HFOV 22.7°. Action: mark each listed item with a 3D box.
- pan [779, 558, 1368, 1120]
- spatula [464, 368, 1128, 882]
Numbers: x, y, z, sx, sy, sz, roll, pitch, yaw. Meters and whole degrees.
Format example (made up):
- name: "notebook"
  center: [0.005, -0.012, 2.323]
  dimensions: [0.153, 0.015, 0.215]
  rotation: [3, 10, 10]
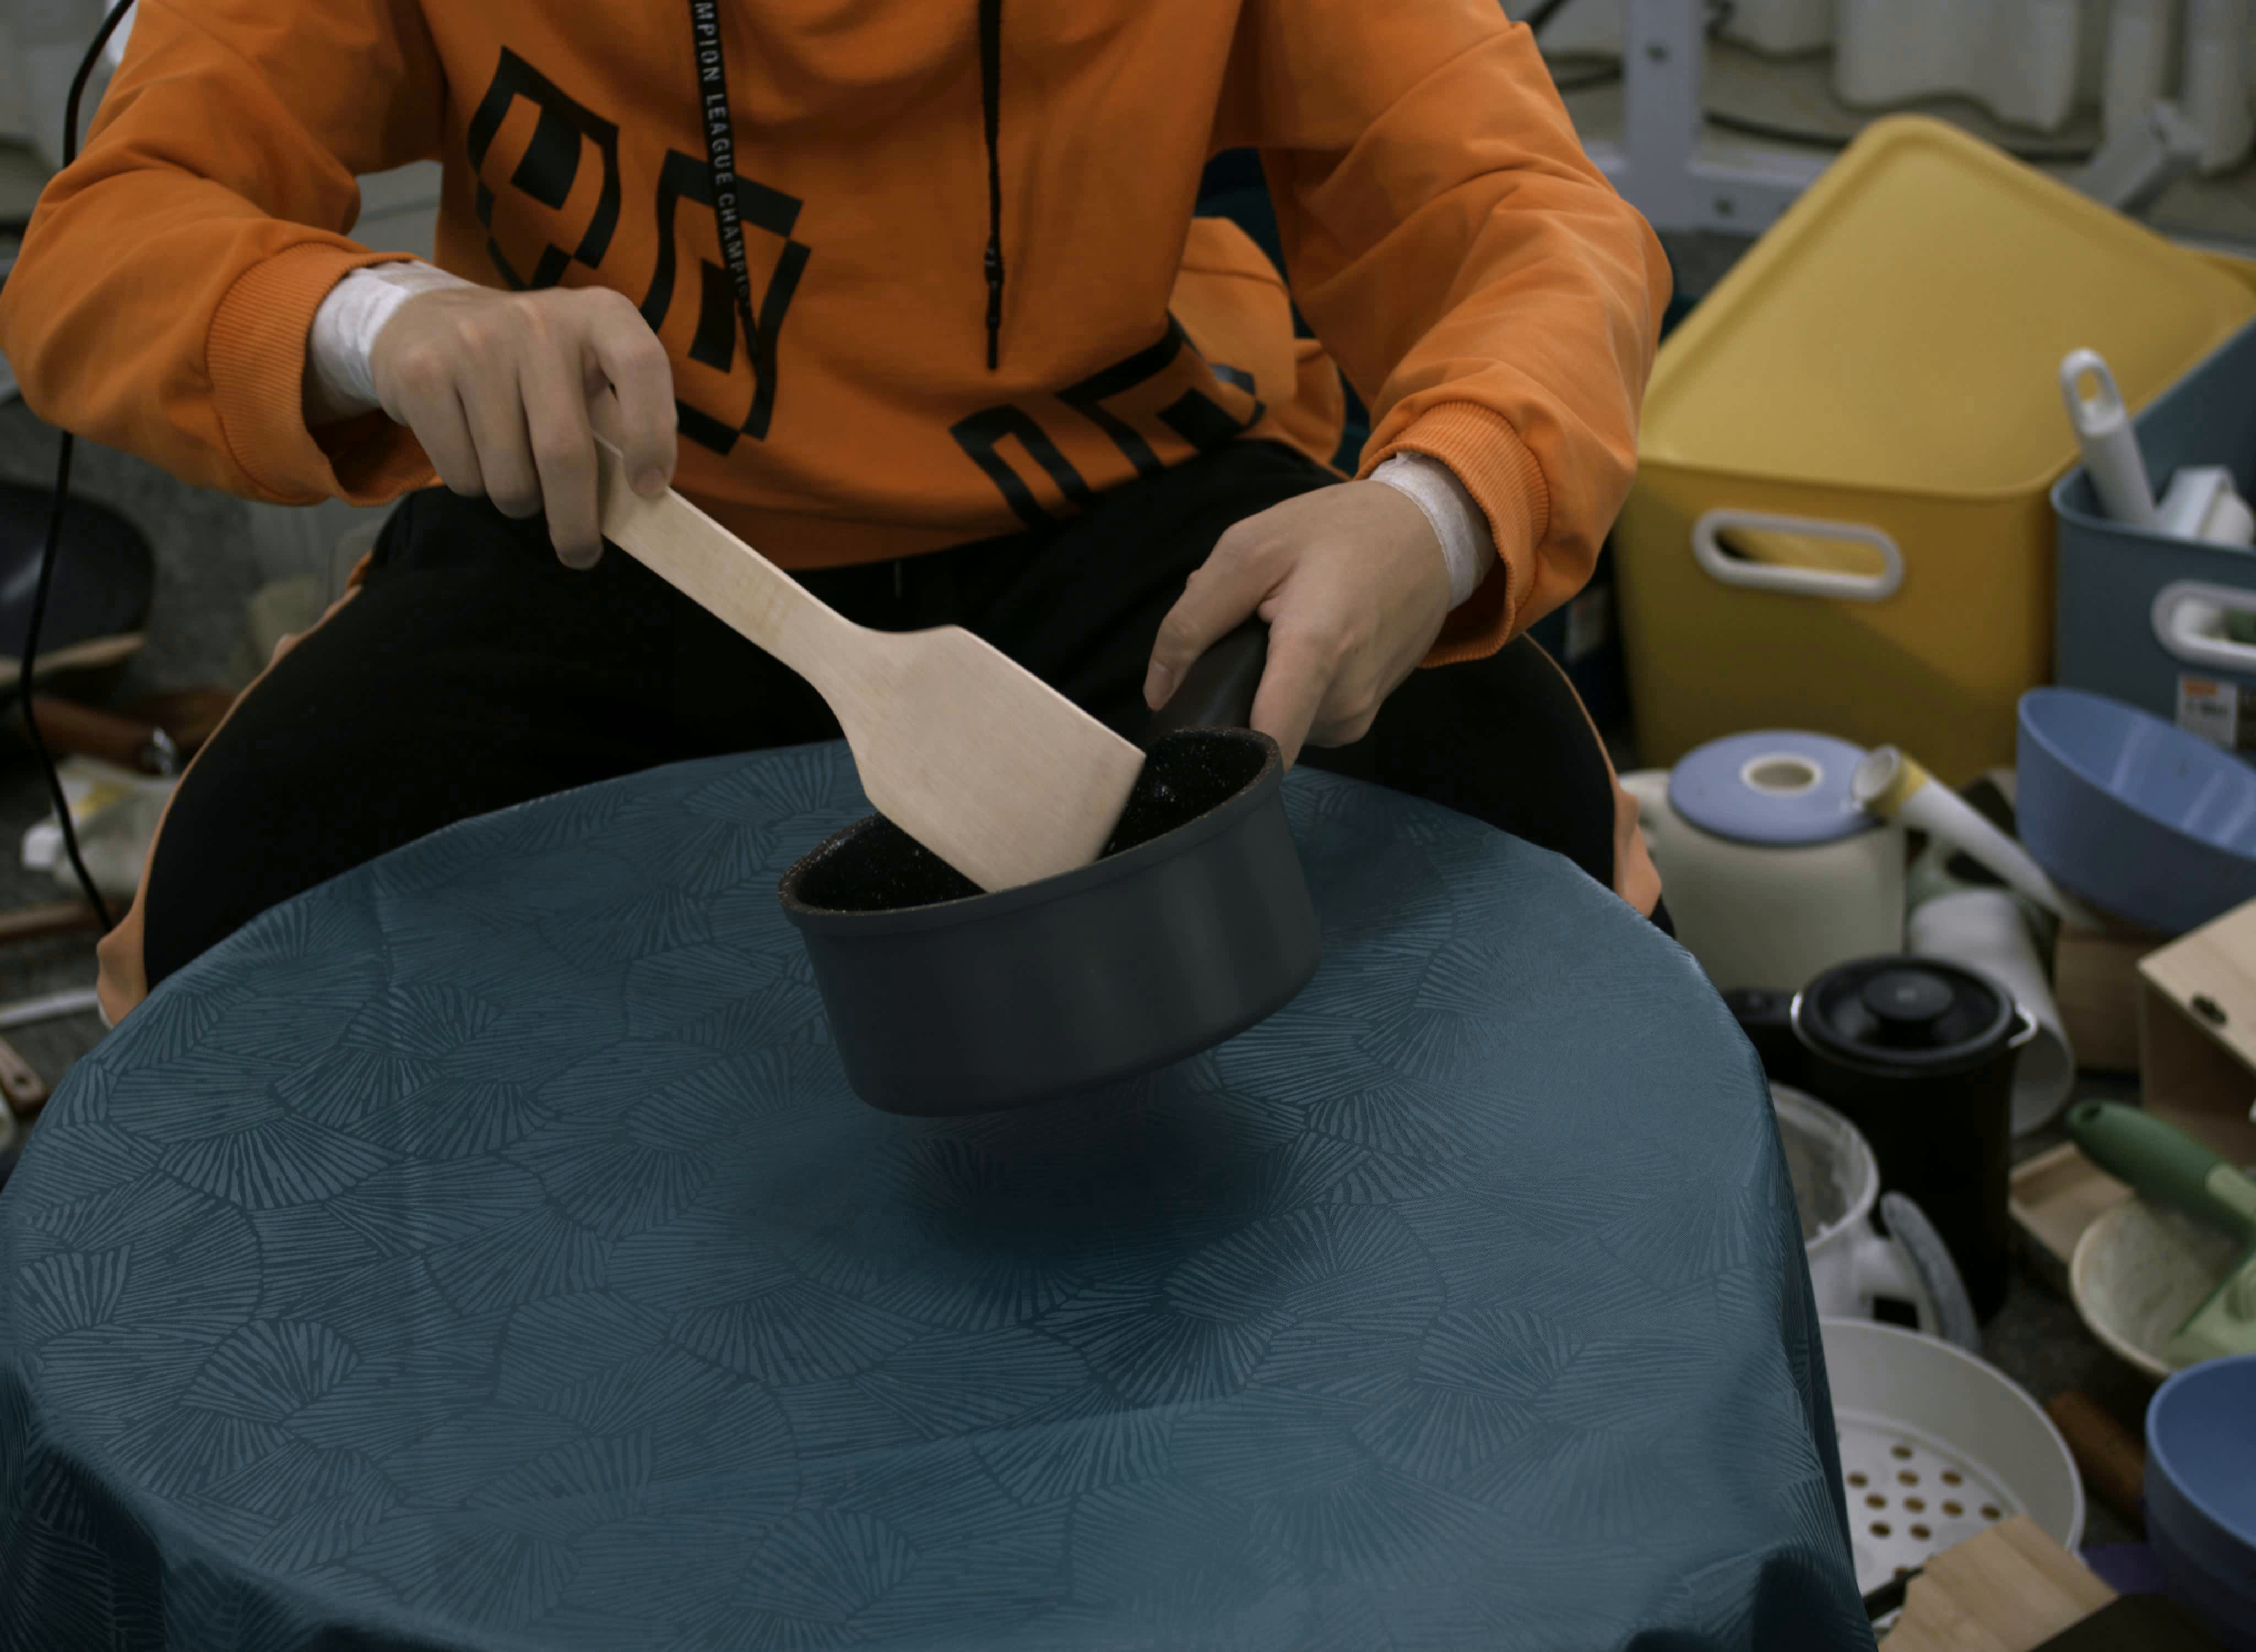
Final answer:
- name: "pan"
  center: [0.010, 0.002, 1.910]
  dimensions: [0.170, 0.086, 0.333]
  rotation: [-8, 17, 29]
- name: "spatula"
  center: [-0.120, -0.075, 1.889]
  dimensions: [0.293, 0.071, 0.011]
  rotation: [35, 19, 26]
